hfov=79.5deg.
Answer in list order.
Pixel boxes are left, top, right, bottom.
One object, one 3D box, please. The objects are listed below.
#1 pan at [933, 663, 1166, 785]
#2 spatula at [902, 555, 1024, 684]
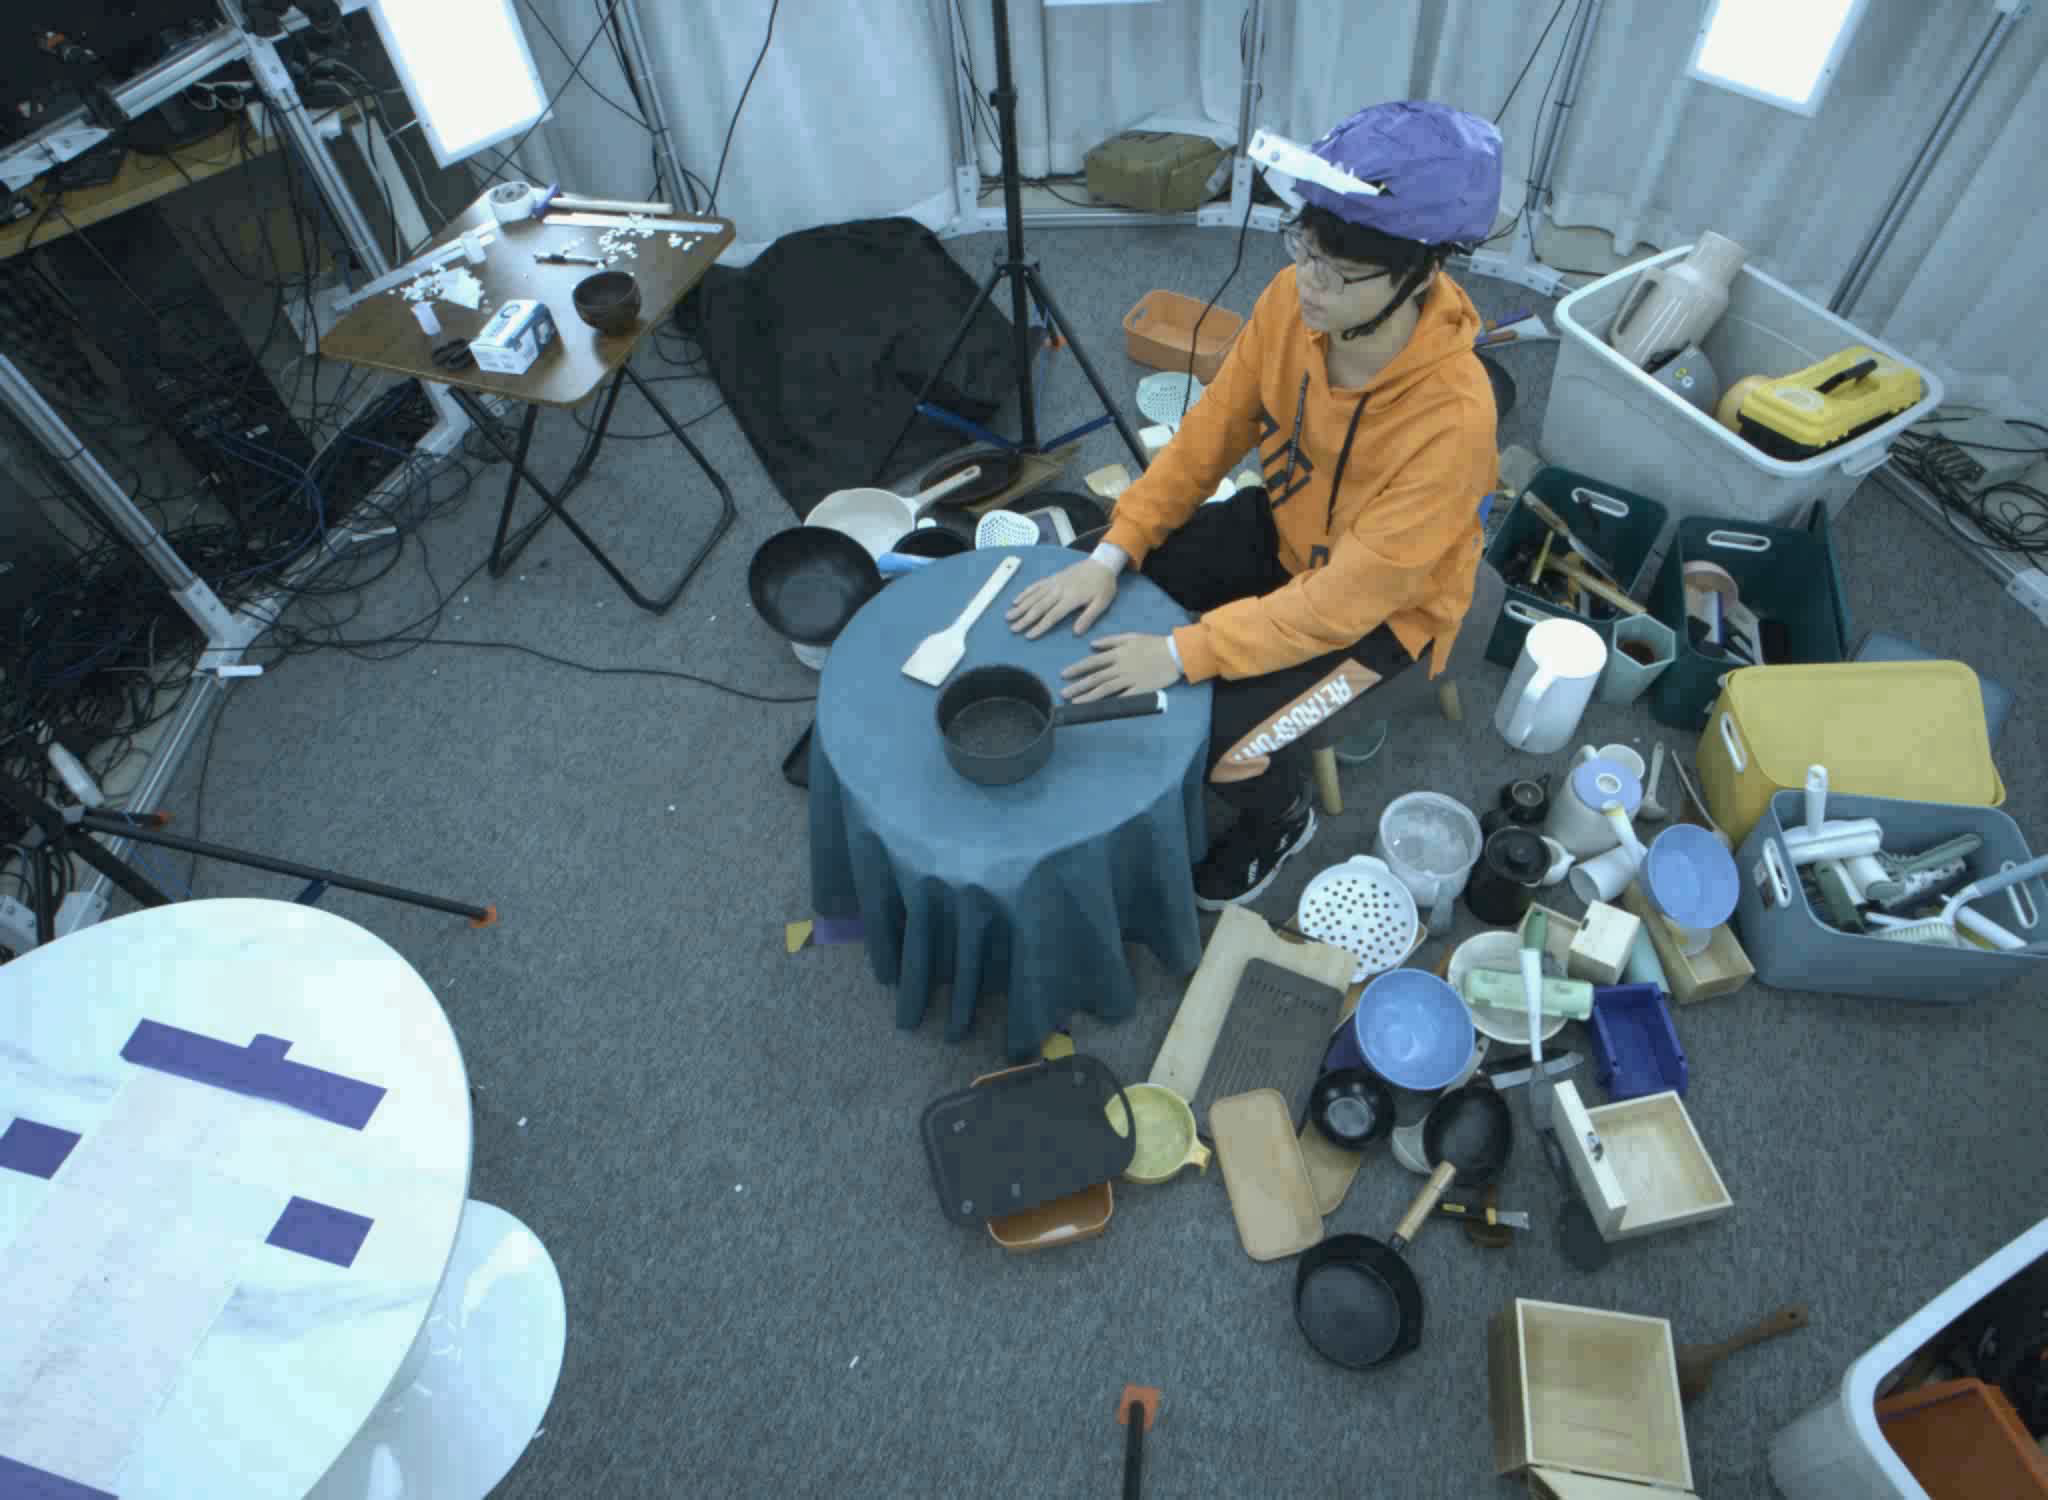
[{"bbox_3d":[0.039,-0.039,1.761,0.328,0.087,0.170,-1,55,4],"label":"pan"},{"bbox_3d":[-0.086,-0.213,1.935,0.071,0.011,0.294,23,59,21],"label":"spatula"}]
